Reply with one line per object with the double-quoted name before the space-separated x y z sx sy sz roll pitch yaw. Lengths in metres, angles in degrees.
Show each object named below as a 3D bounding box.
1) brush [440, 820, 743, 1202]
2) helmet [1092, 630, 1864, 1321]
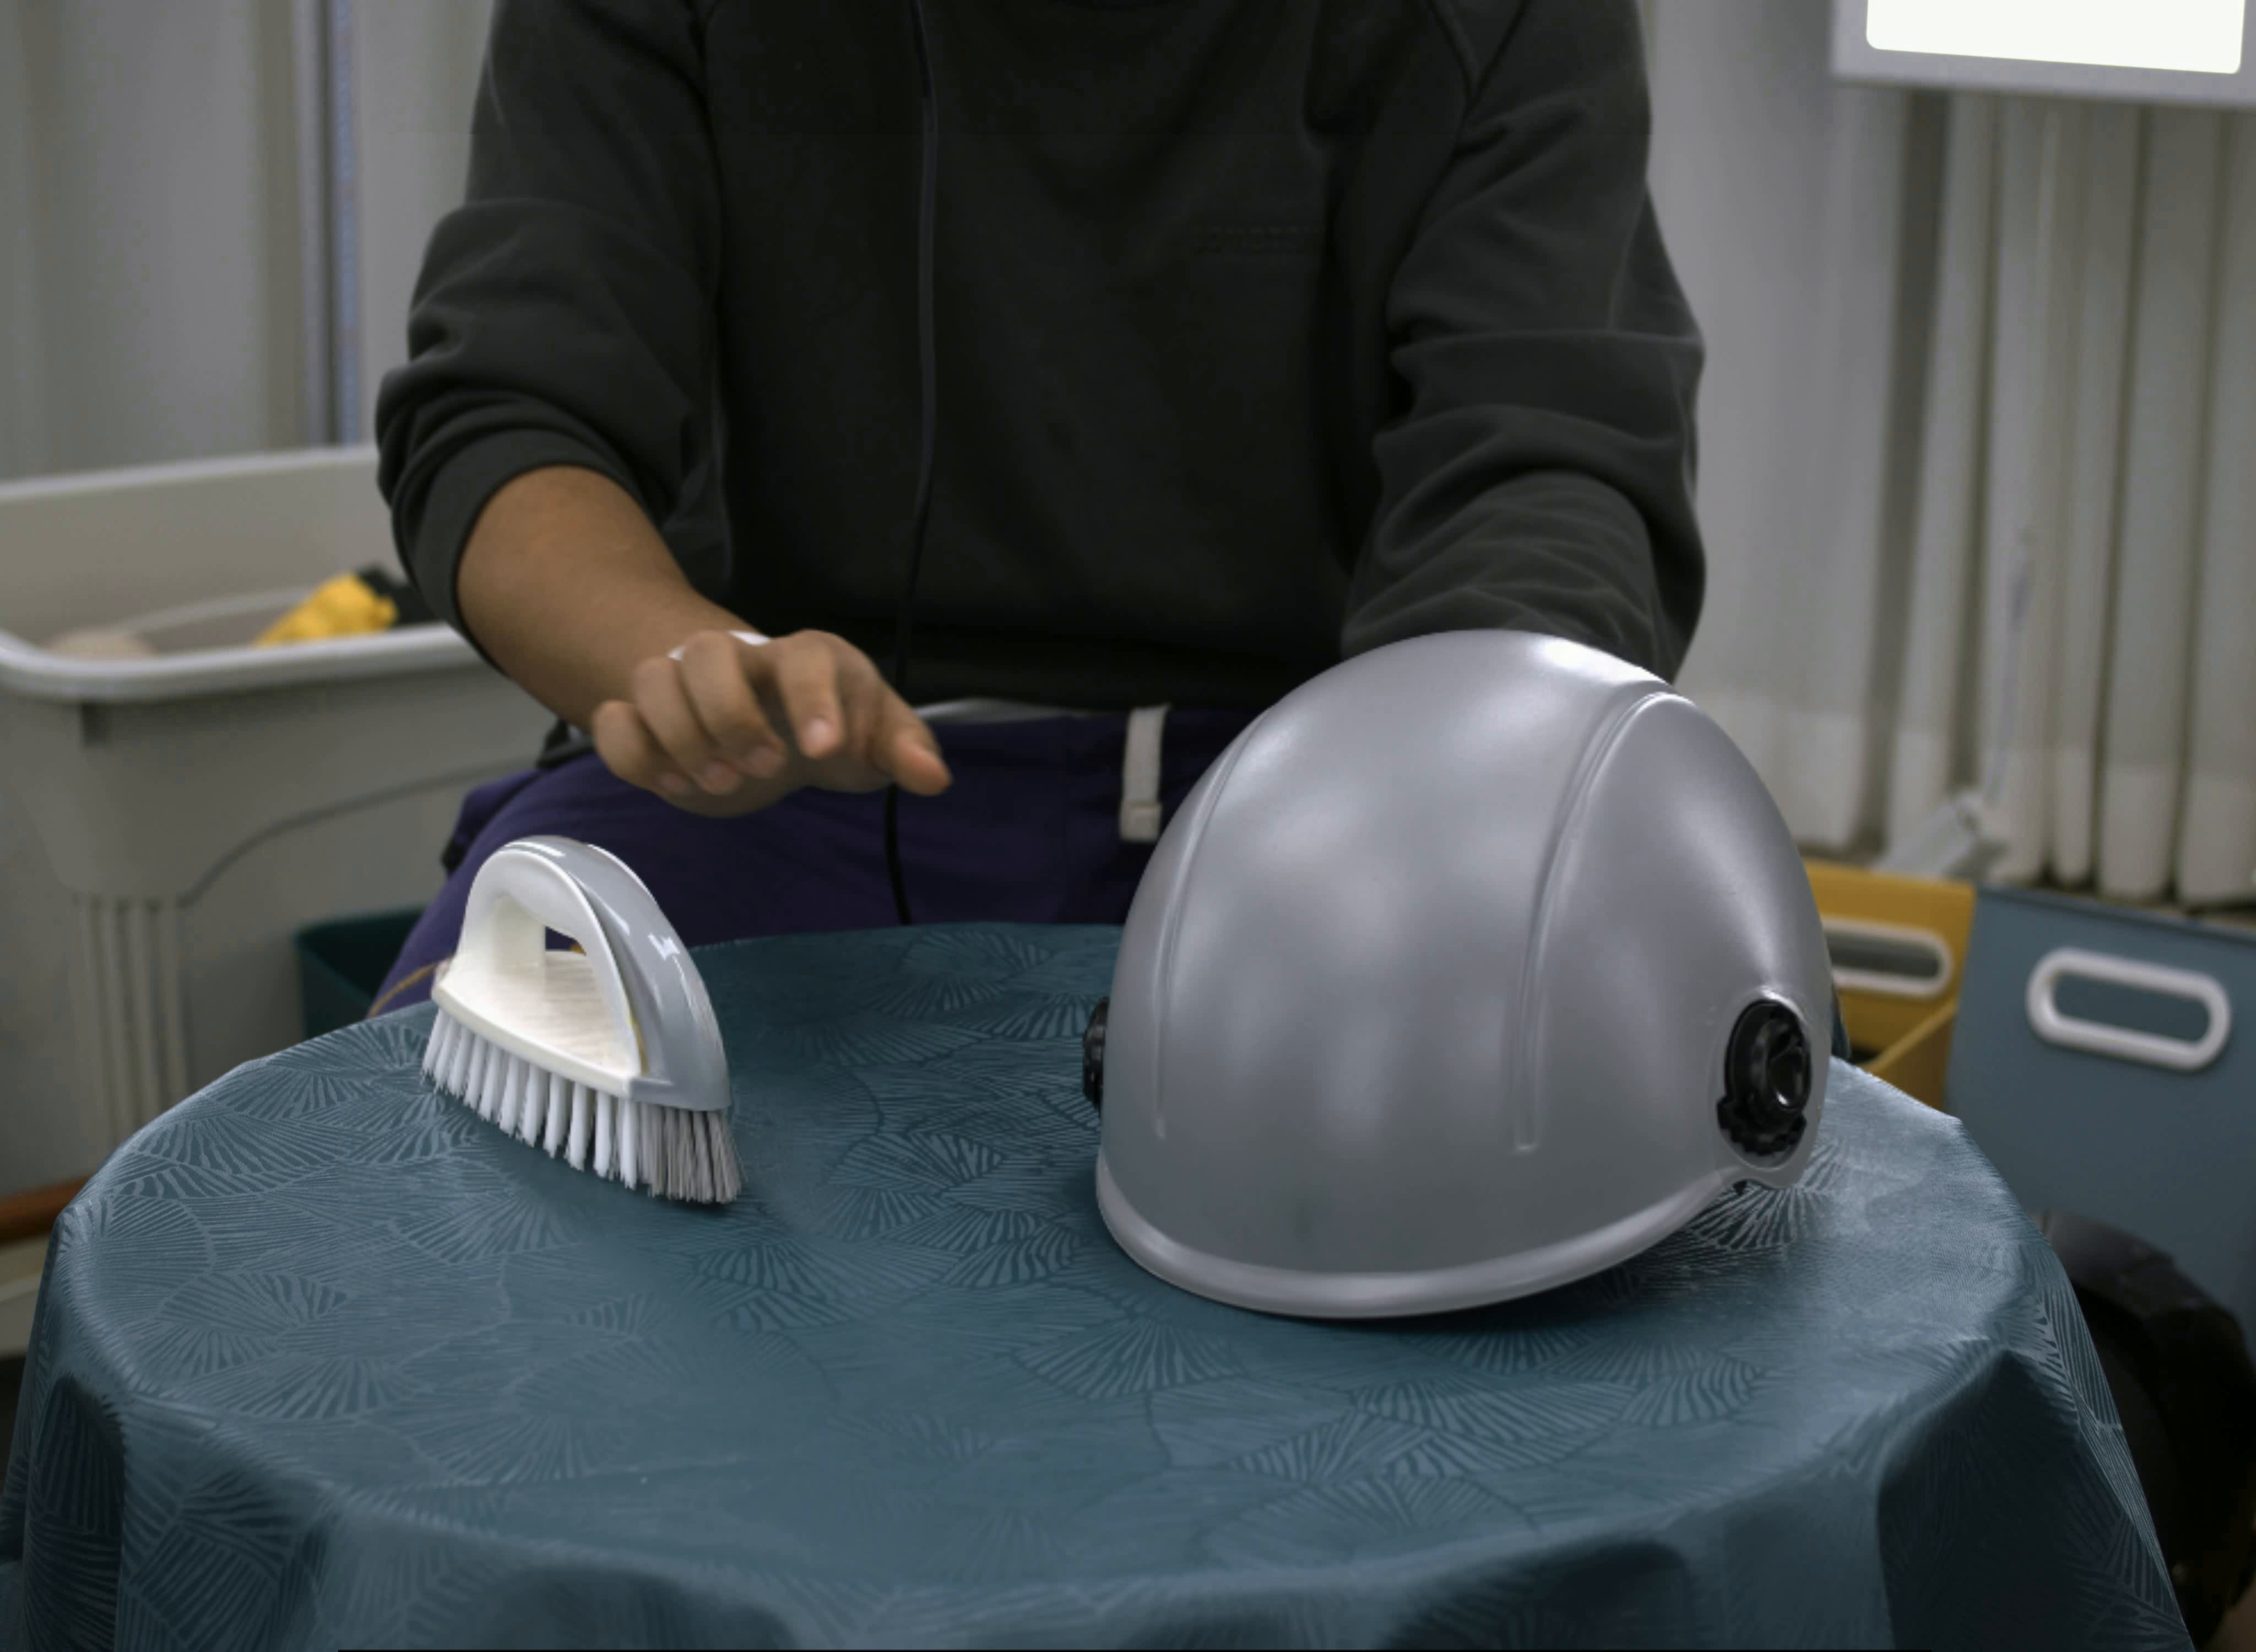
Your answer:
"brush" -0.164 0.053 1.659 0.062 0.095 0.173 -11 21 -28
"helmet" 0.102 0.030 1.610 0.230 0.170 0.276 0 16 24
